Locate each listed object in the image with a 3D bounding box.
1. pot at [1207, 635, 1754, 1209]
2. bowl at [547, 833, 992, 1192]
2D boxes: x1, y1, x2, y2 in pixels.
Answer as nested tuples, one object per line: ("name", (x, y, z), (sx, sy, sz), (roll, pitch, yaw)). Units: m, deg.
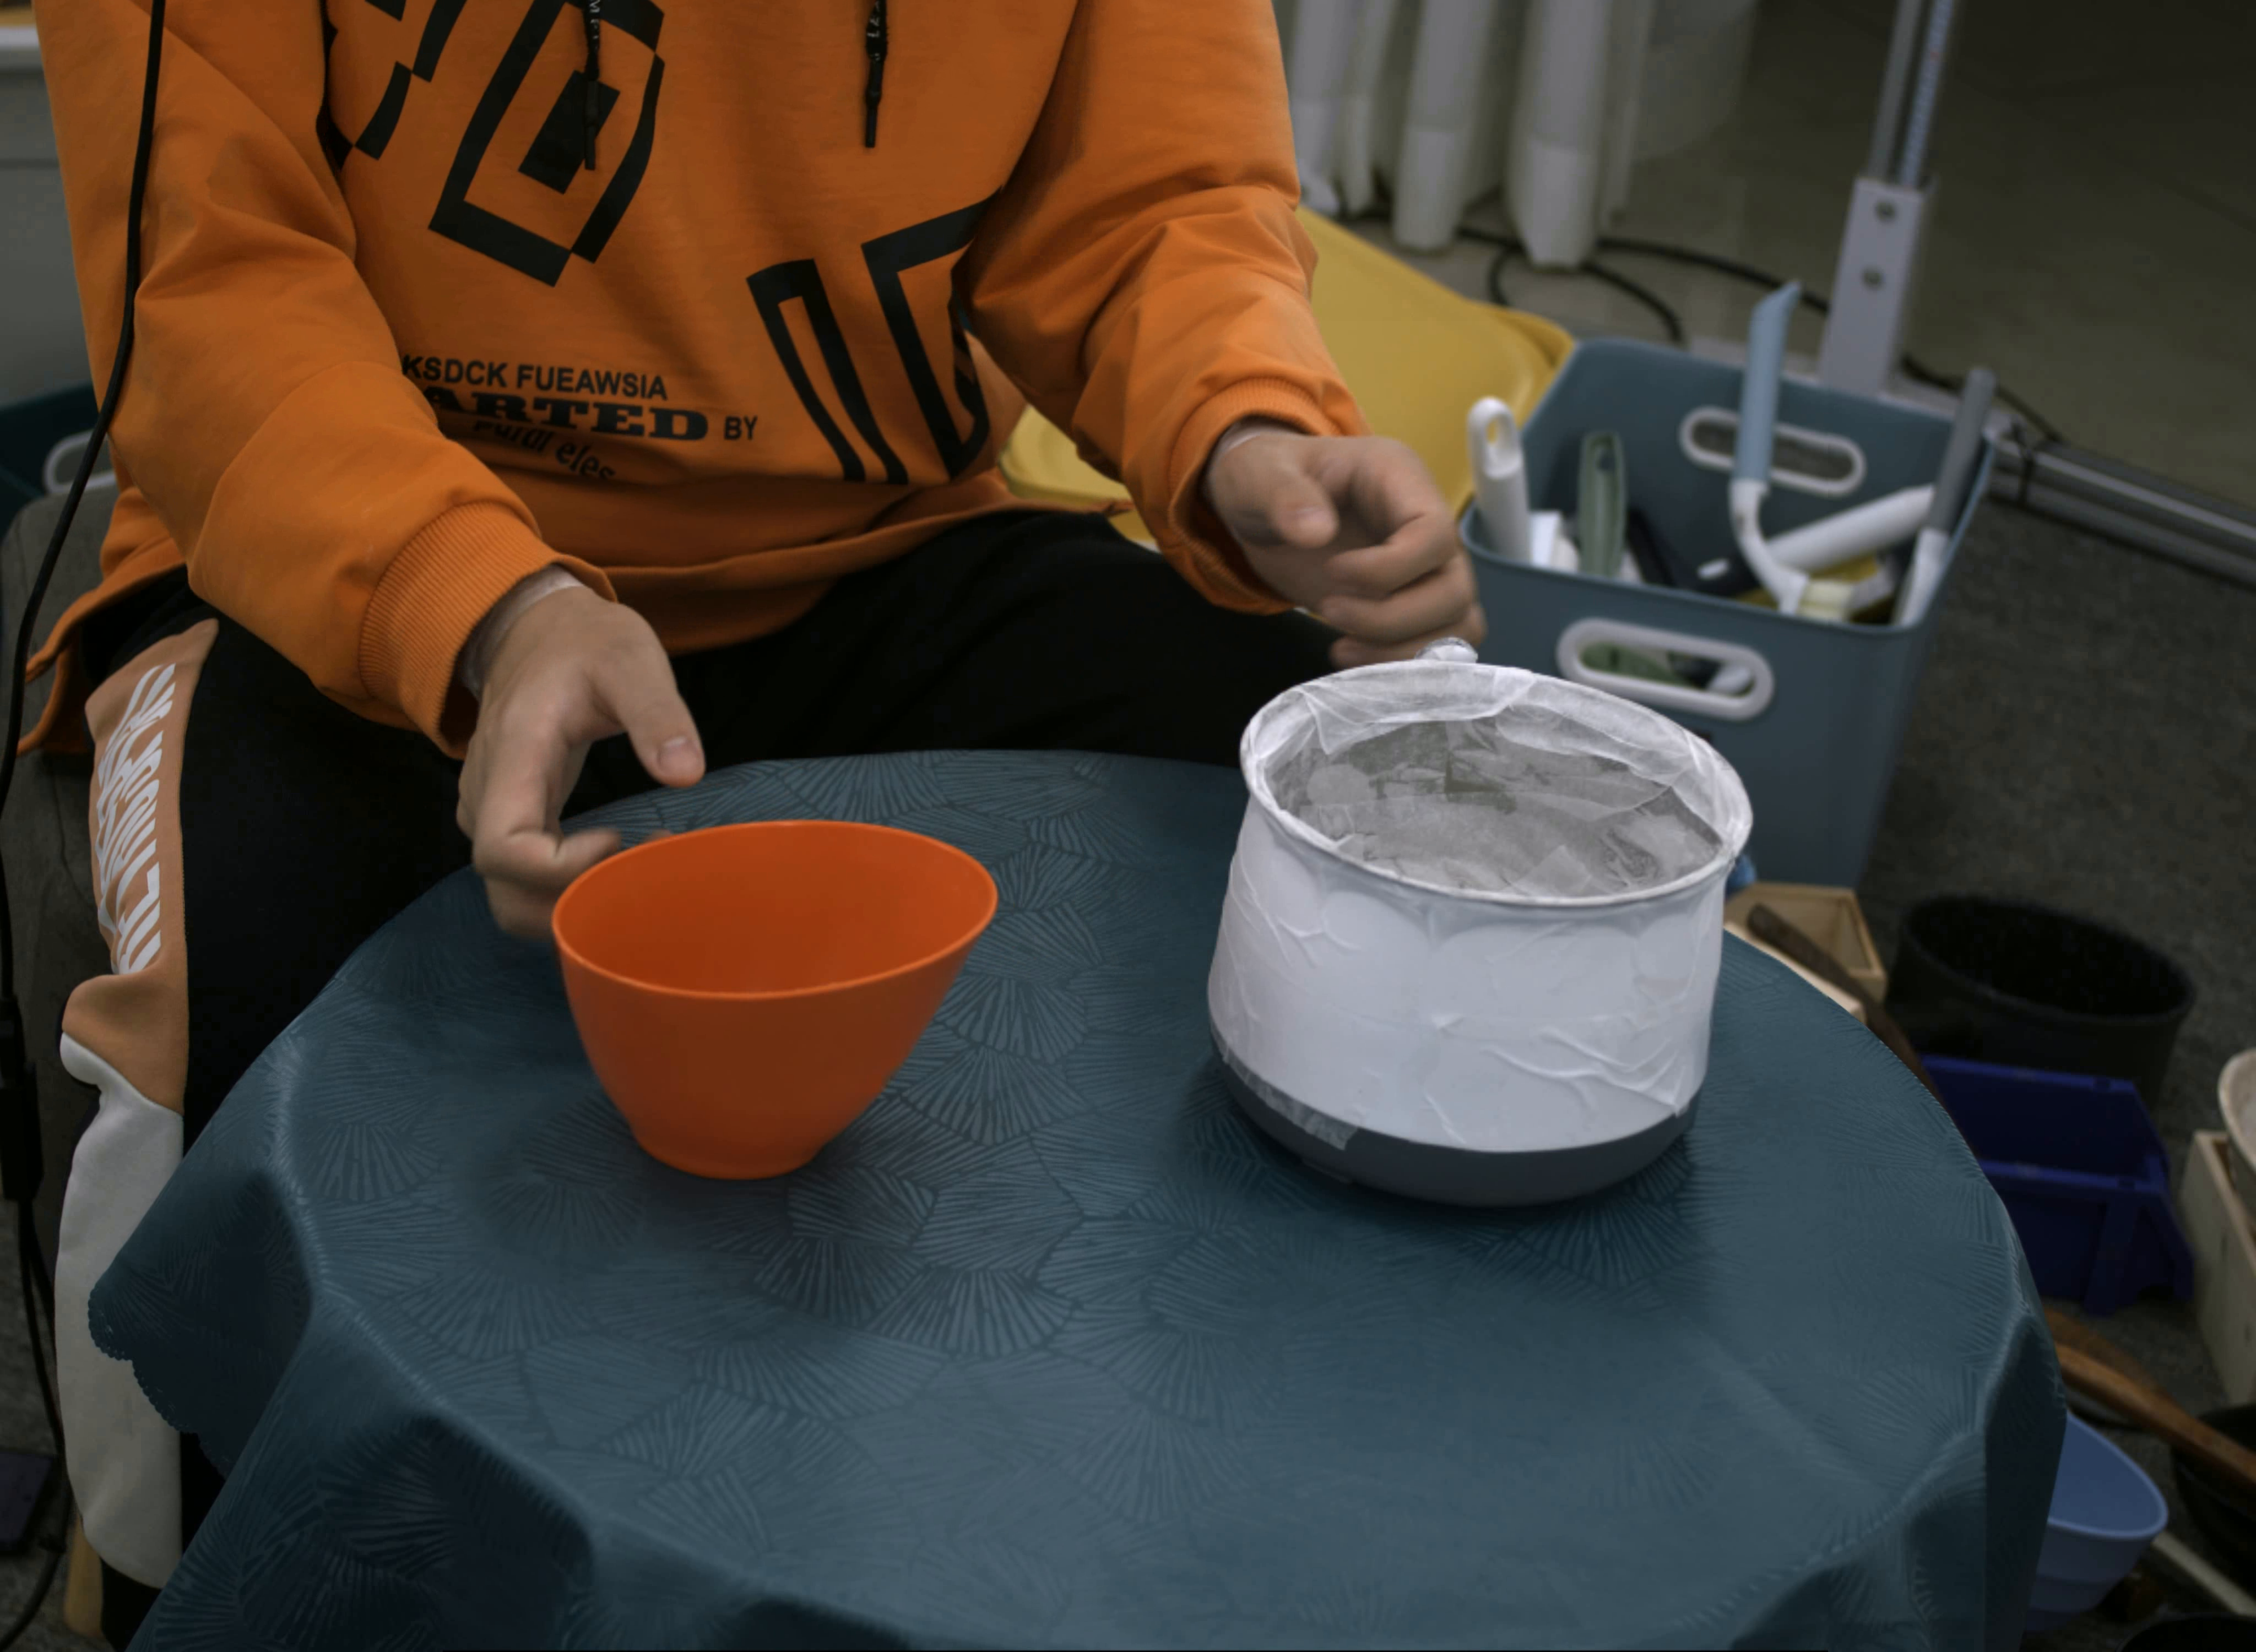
("pot", (0.115, 0.026, 1.868), (0.178, 0.136, 0.235), (3, 27, -9))
("bowl", (-0.123, 0.066, 1.784), (0.147, 0.104, 0.149), (4, 26, -2))
